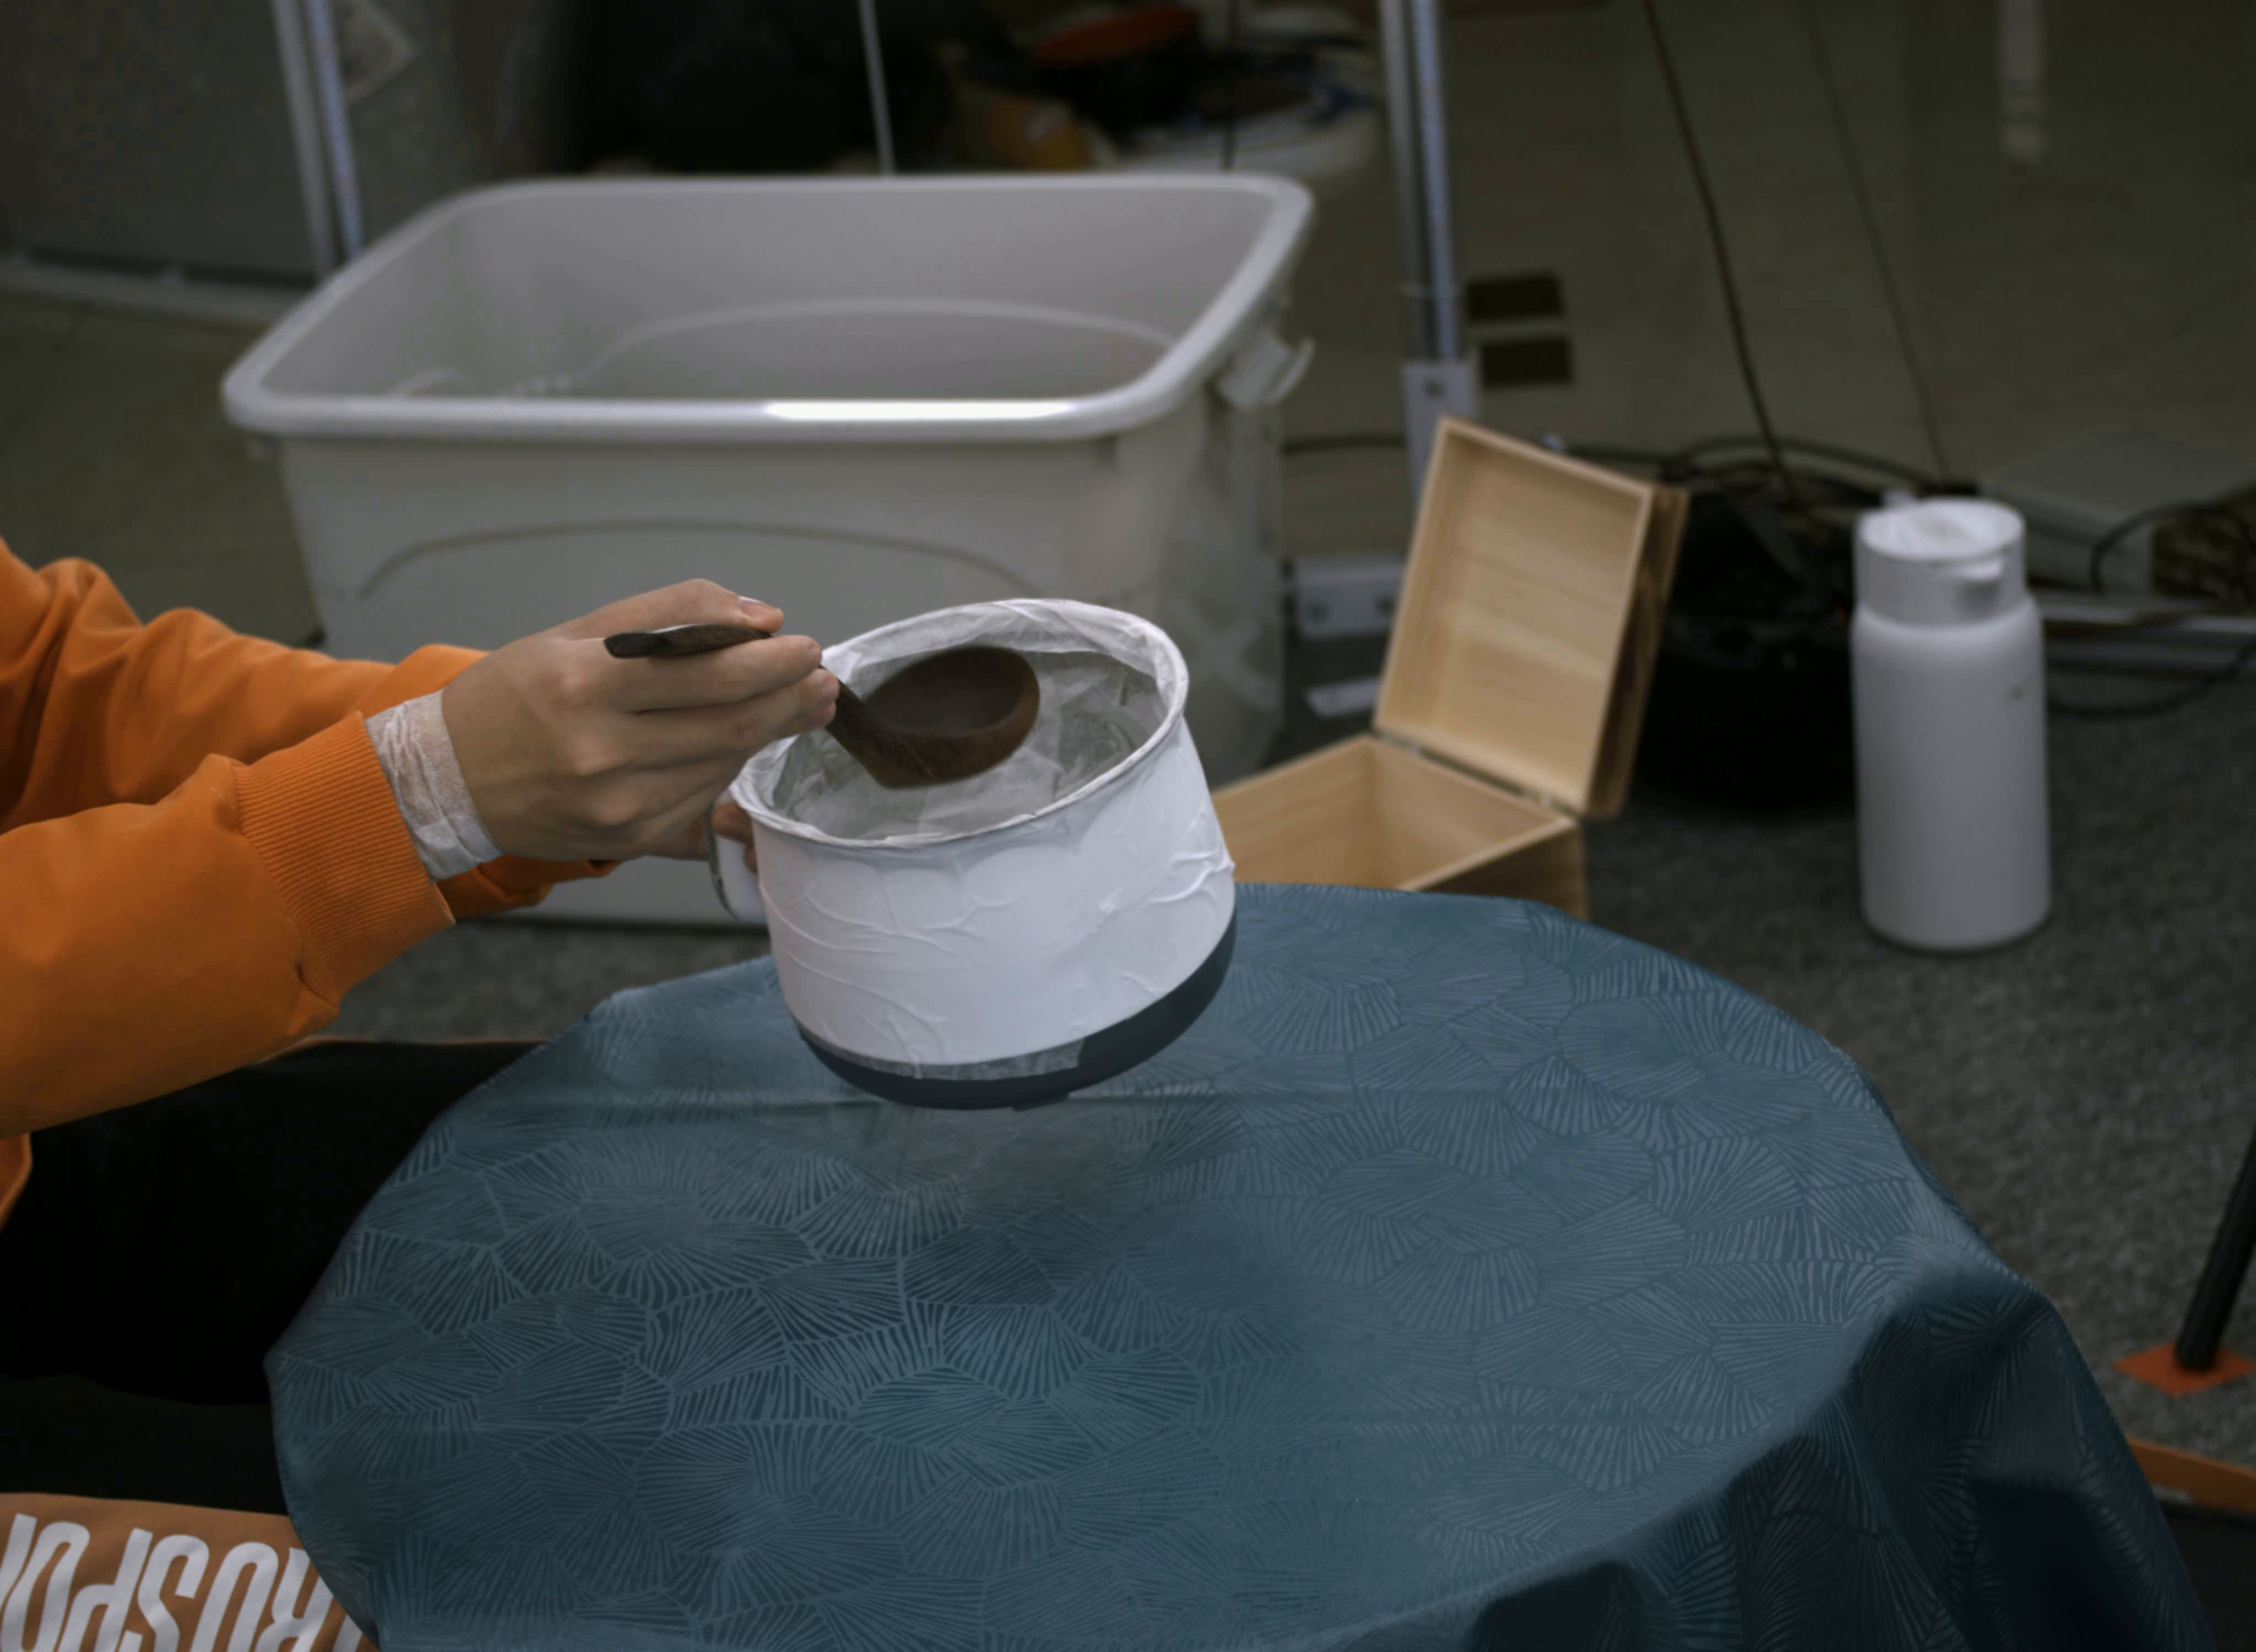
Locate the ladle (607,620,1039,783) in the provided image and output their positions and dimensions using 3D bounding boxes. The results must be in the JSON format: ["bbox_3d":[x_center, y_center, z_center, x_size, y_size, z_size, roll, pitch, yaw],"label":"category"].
[{"bbox_3d":[-0.111,-0.066,1.991,0.076,0.071,0.276,-9,-15,22],"label":"ladle"}]

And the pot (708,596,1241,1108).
[{"bbox_3d":[-0.072,0.007,2.152,0.232,0.139,0.176,13,39,36],"label":"pot"}]
